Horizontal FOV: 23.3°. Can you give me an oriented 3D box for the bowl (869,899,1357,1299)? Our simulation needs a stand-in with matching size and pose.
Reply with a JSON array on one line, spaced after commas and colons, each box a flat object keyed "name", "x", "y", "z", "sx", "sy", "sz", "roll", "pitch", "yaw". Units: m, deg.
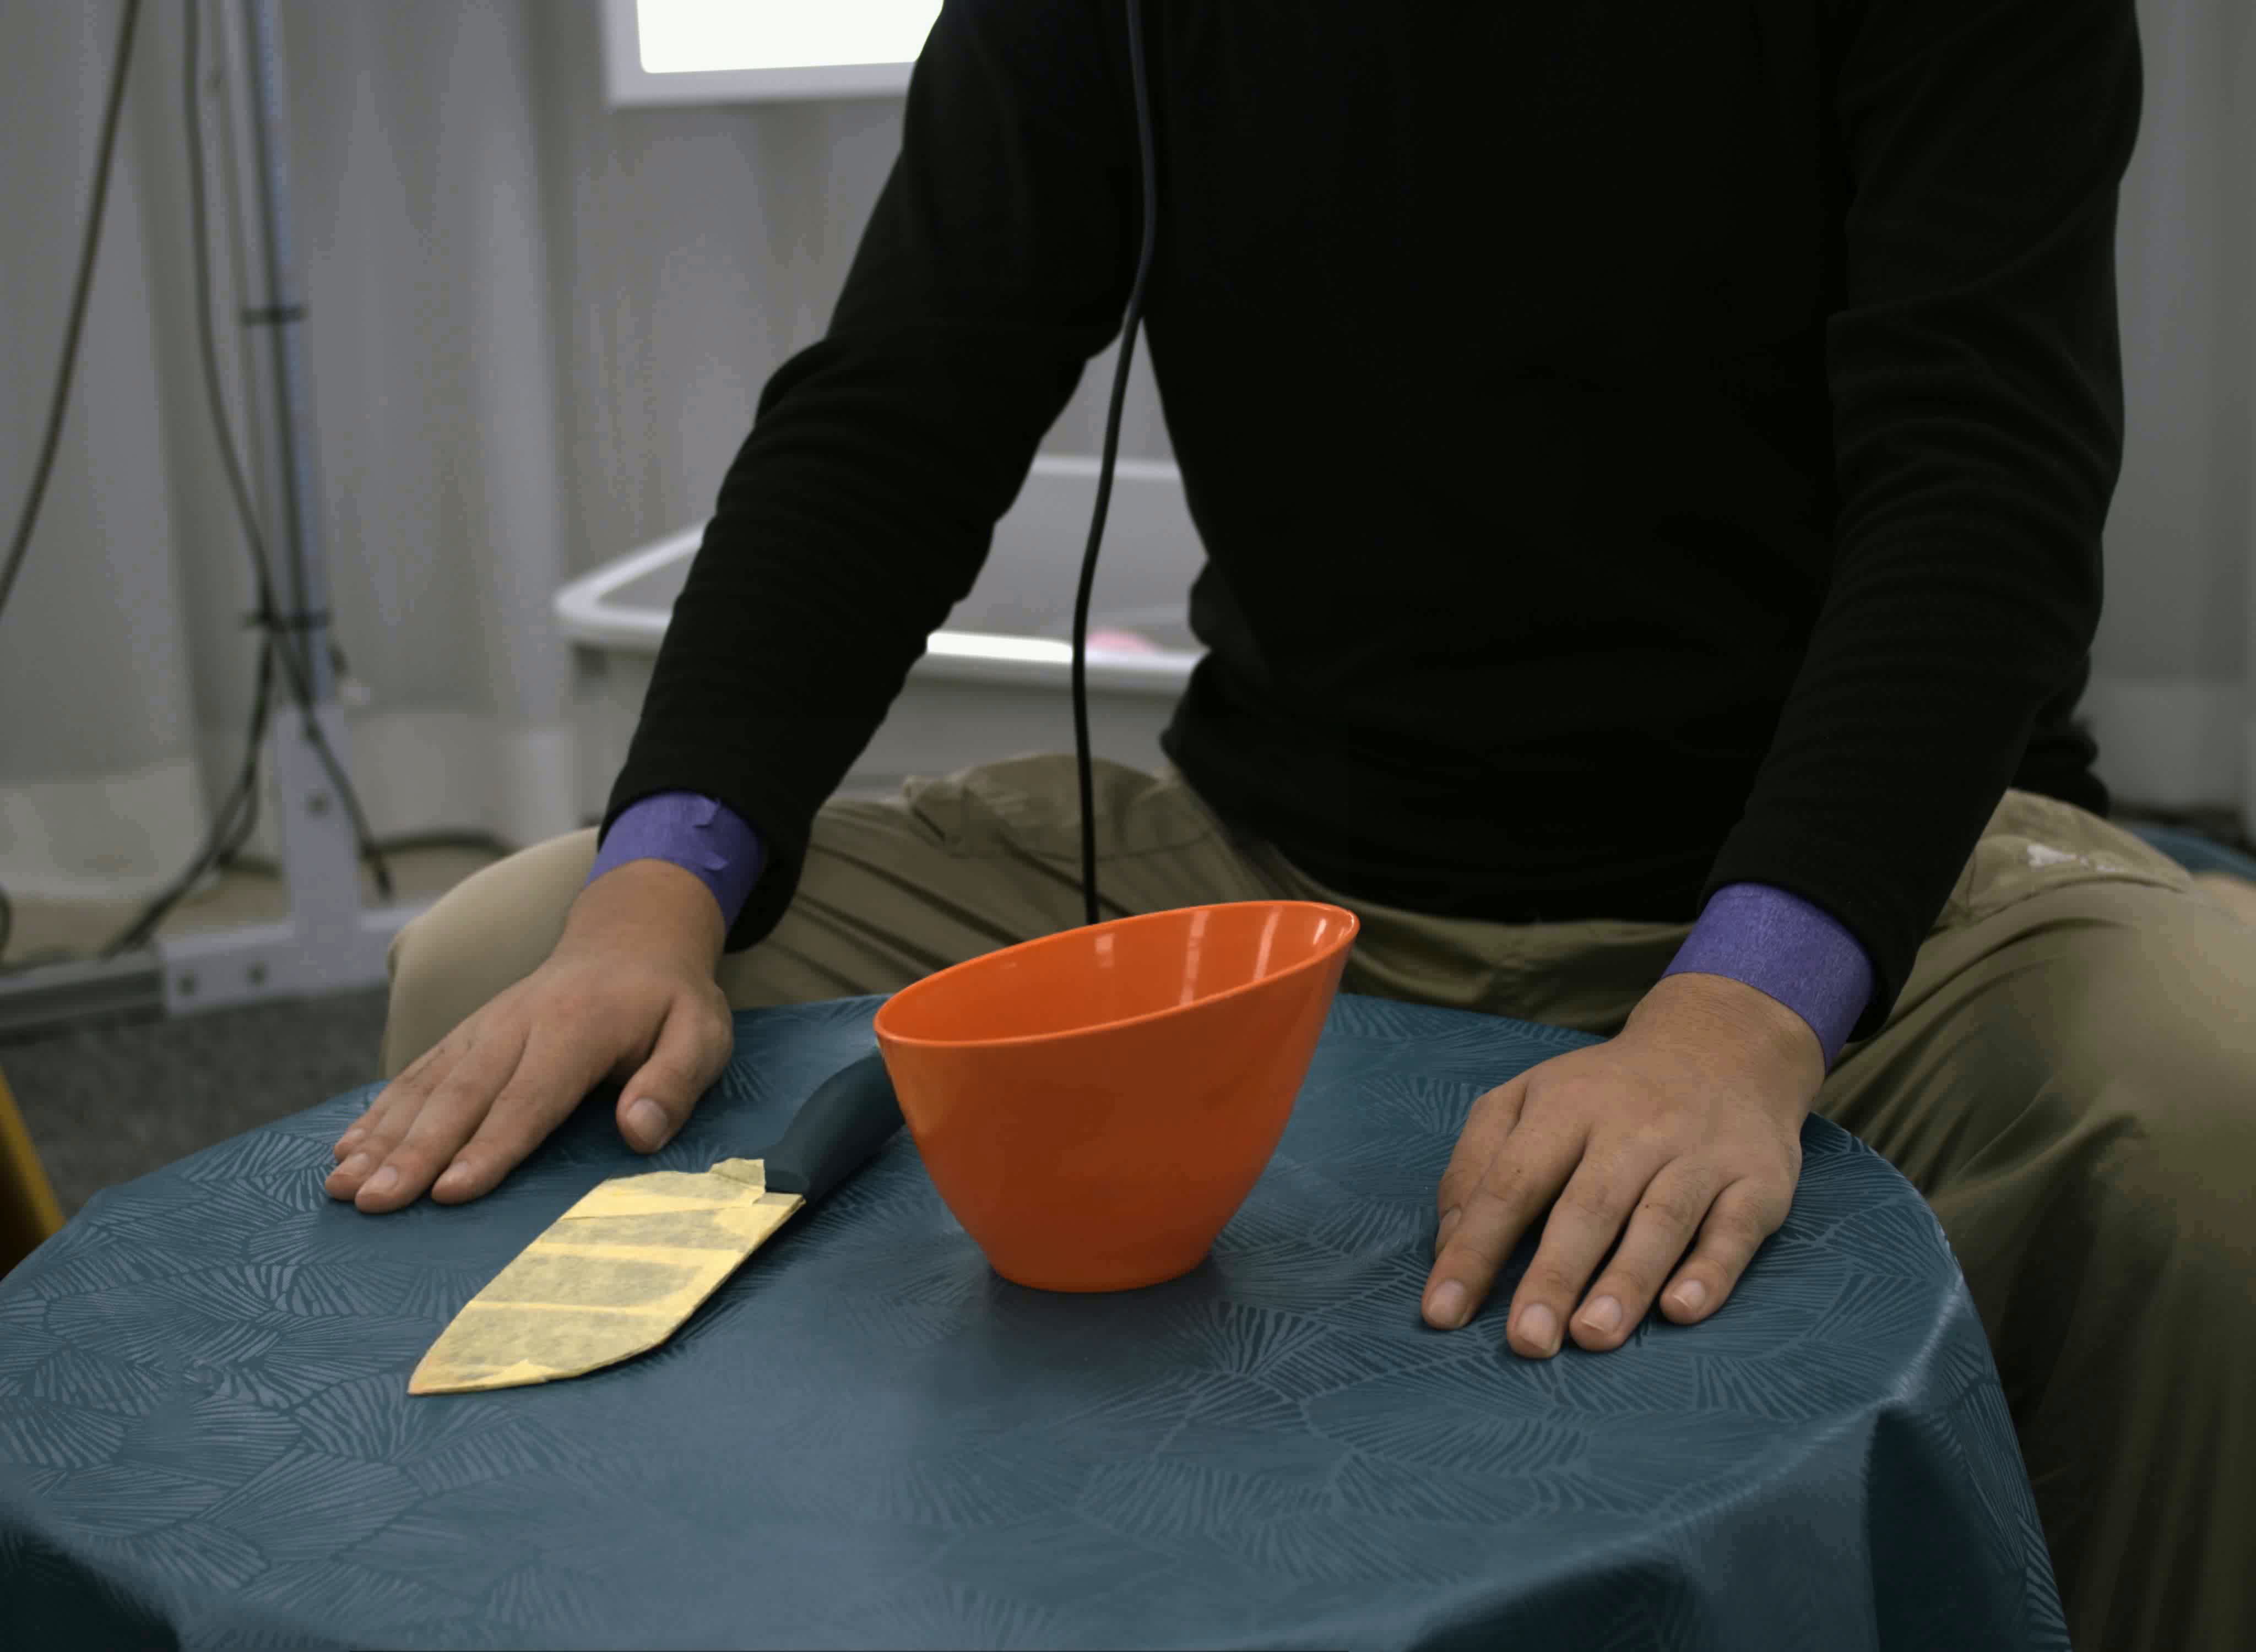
[{"name": "bowl", "x": -0.003, "y": 0.083, "z": 1.637, "sx": 0.147, "sy": 0.104, "sz": 0.149, "roll": -4, "pitch": 15, "yaw": 1}]

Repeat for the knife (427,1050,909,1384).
[{"name": "knife", "x": -0.135, "y": 0.120, "z": 1.693, "sx": 0.081, "sy": 0.027, "sz": 0.290, "roll": 5, "pitch": 18, "yaw": 21}]
